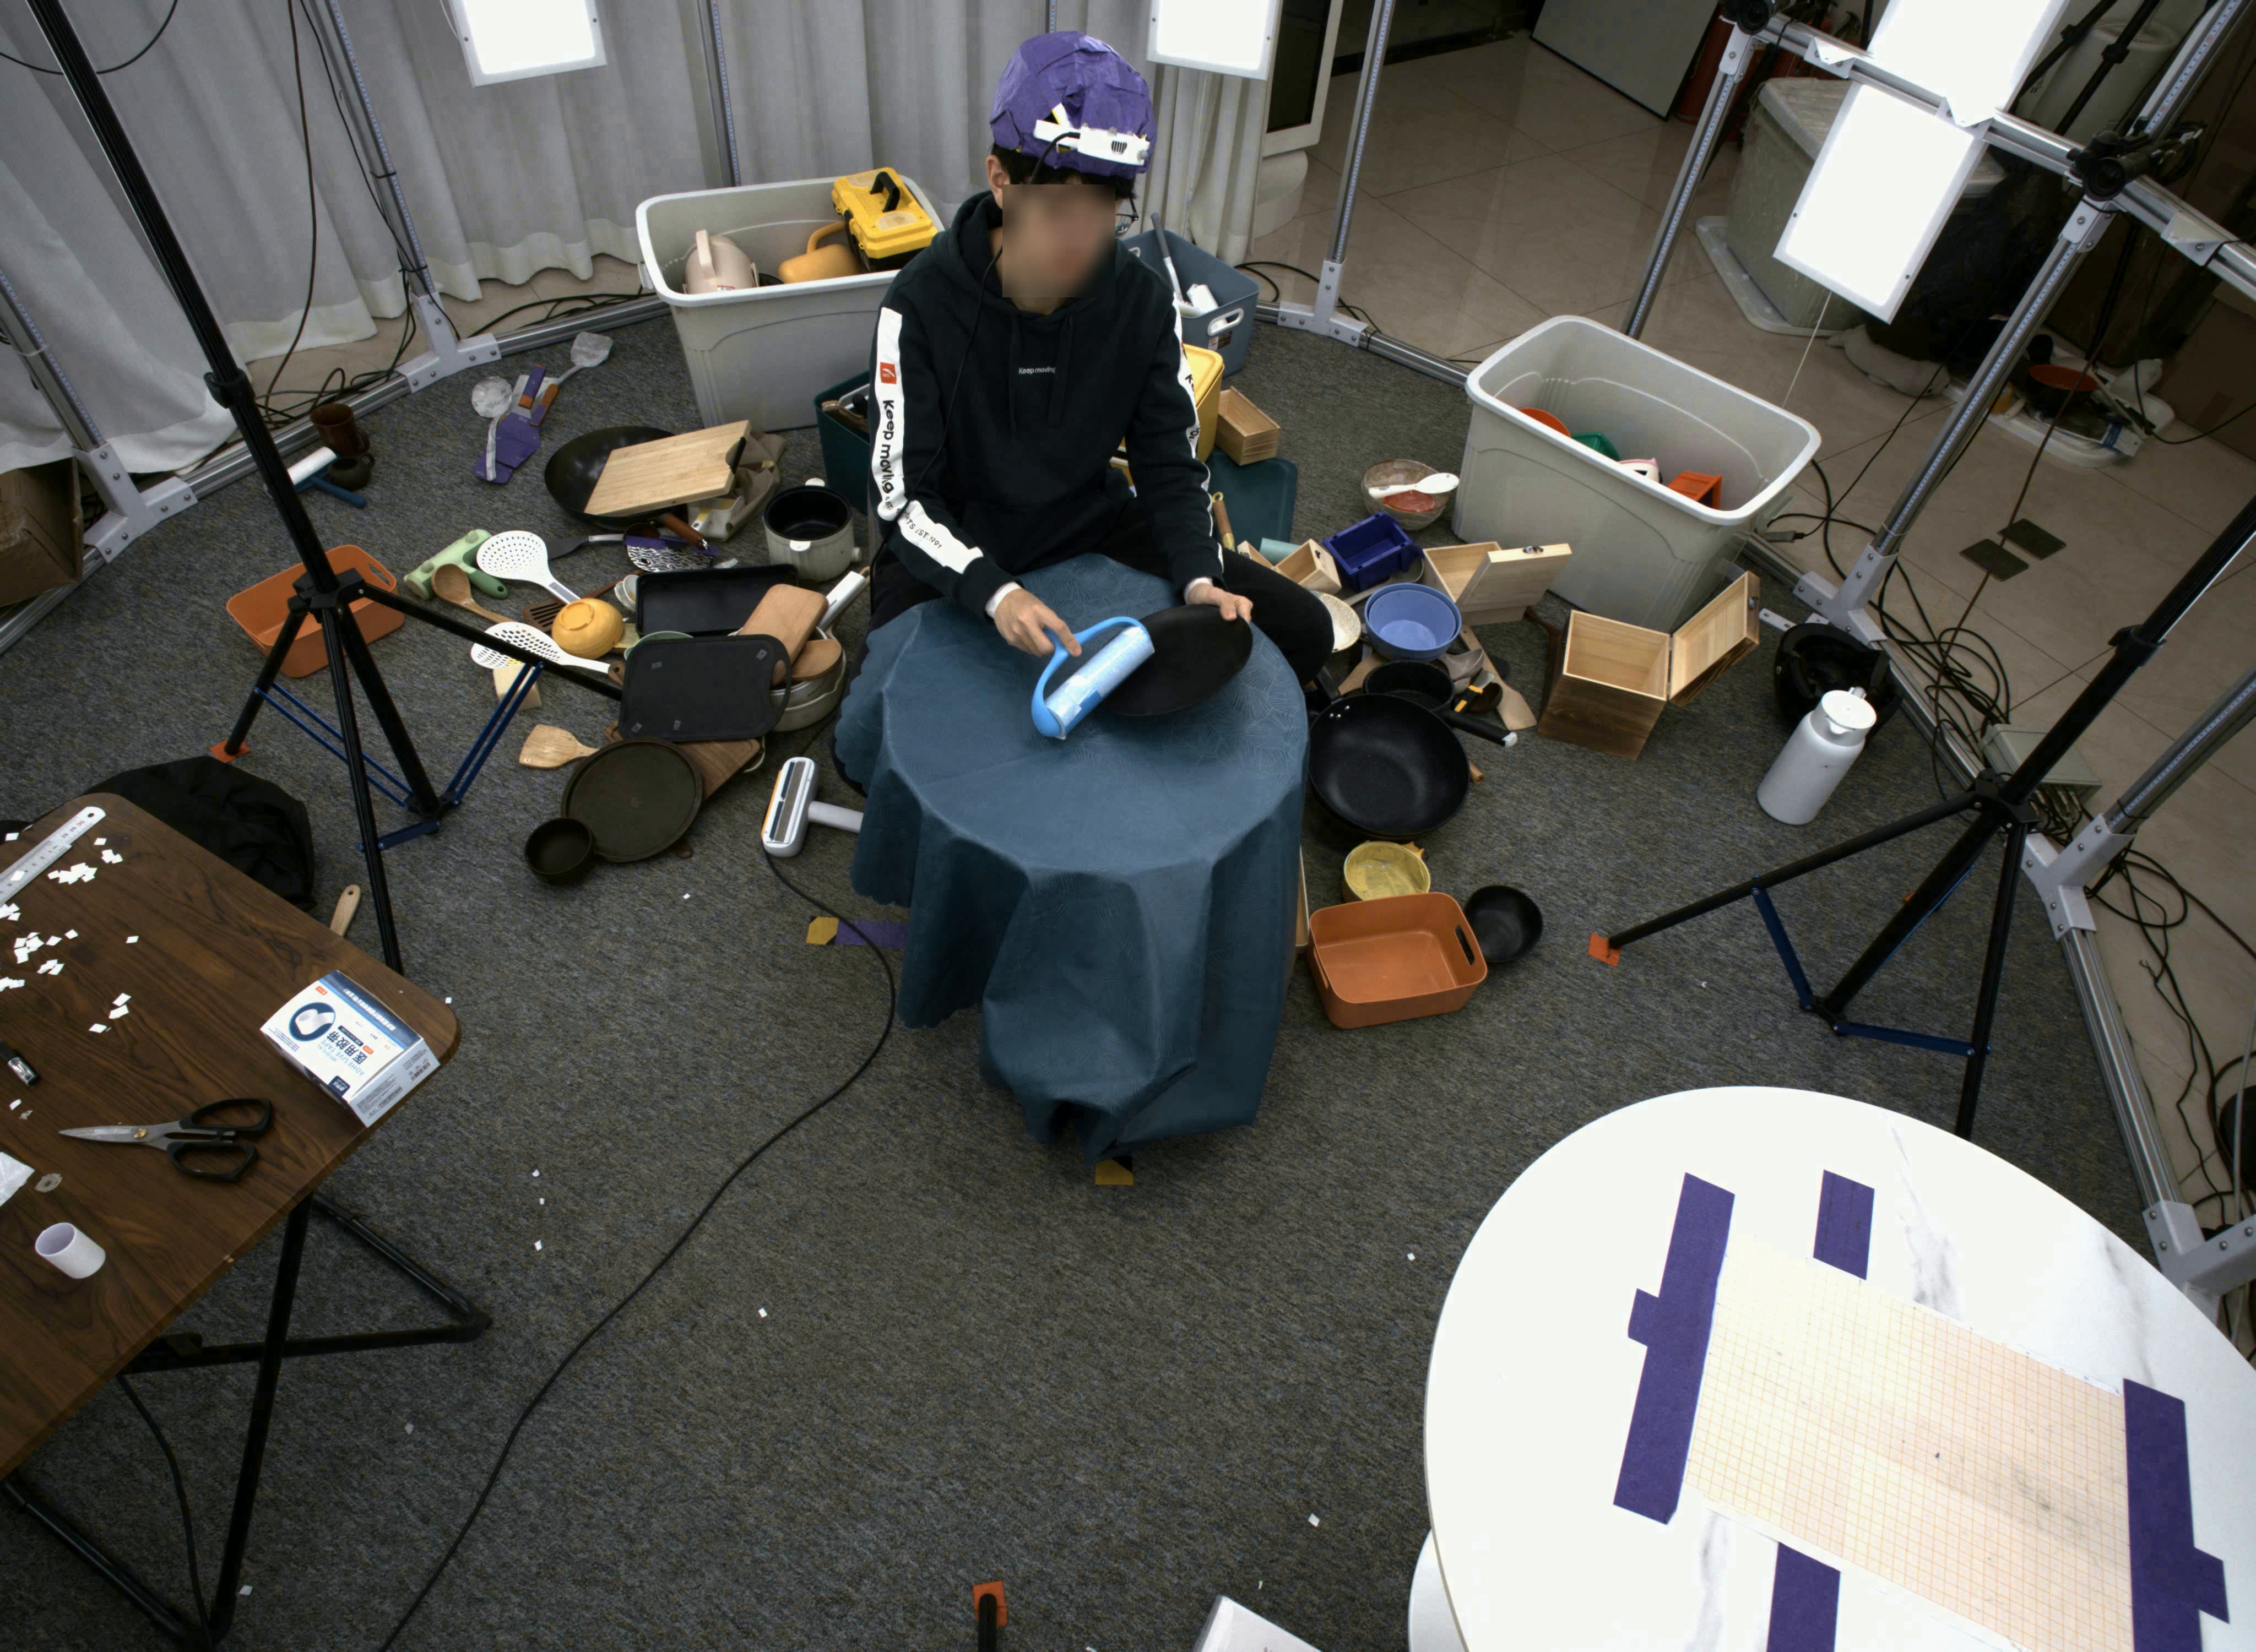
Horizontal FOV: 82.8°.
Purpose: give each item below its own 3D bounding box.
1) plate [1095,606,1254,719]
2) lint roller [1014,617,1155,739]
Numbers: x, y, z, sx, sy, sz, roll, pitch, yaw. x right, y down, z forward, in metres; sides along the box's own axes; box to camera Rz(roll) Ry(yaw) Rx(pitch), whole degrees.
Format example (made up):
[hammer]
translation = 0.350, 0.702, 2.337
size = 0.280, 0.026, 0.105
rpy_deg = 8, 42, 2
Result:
[plate]
translation = 0.061, -0.228, 1.811
size = 0.244, 0.023, 0.250
rpy_deg = -14, 41, 12
[lint roller]
translation = -0.089, -0.234, 1.791
size = 0.182, 0.066, 0.232
rpy_deg = 34, 62, 14
